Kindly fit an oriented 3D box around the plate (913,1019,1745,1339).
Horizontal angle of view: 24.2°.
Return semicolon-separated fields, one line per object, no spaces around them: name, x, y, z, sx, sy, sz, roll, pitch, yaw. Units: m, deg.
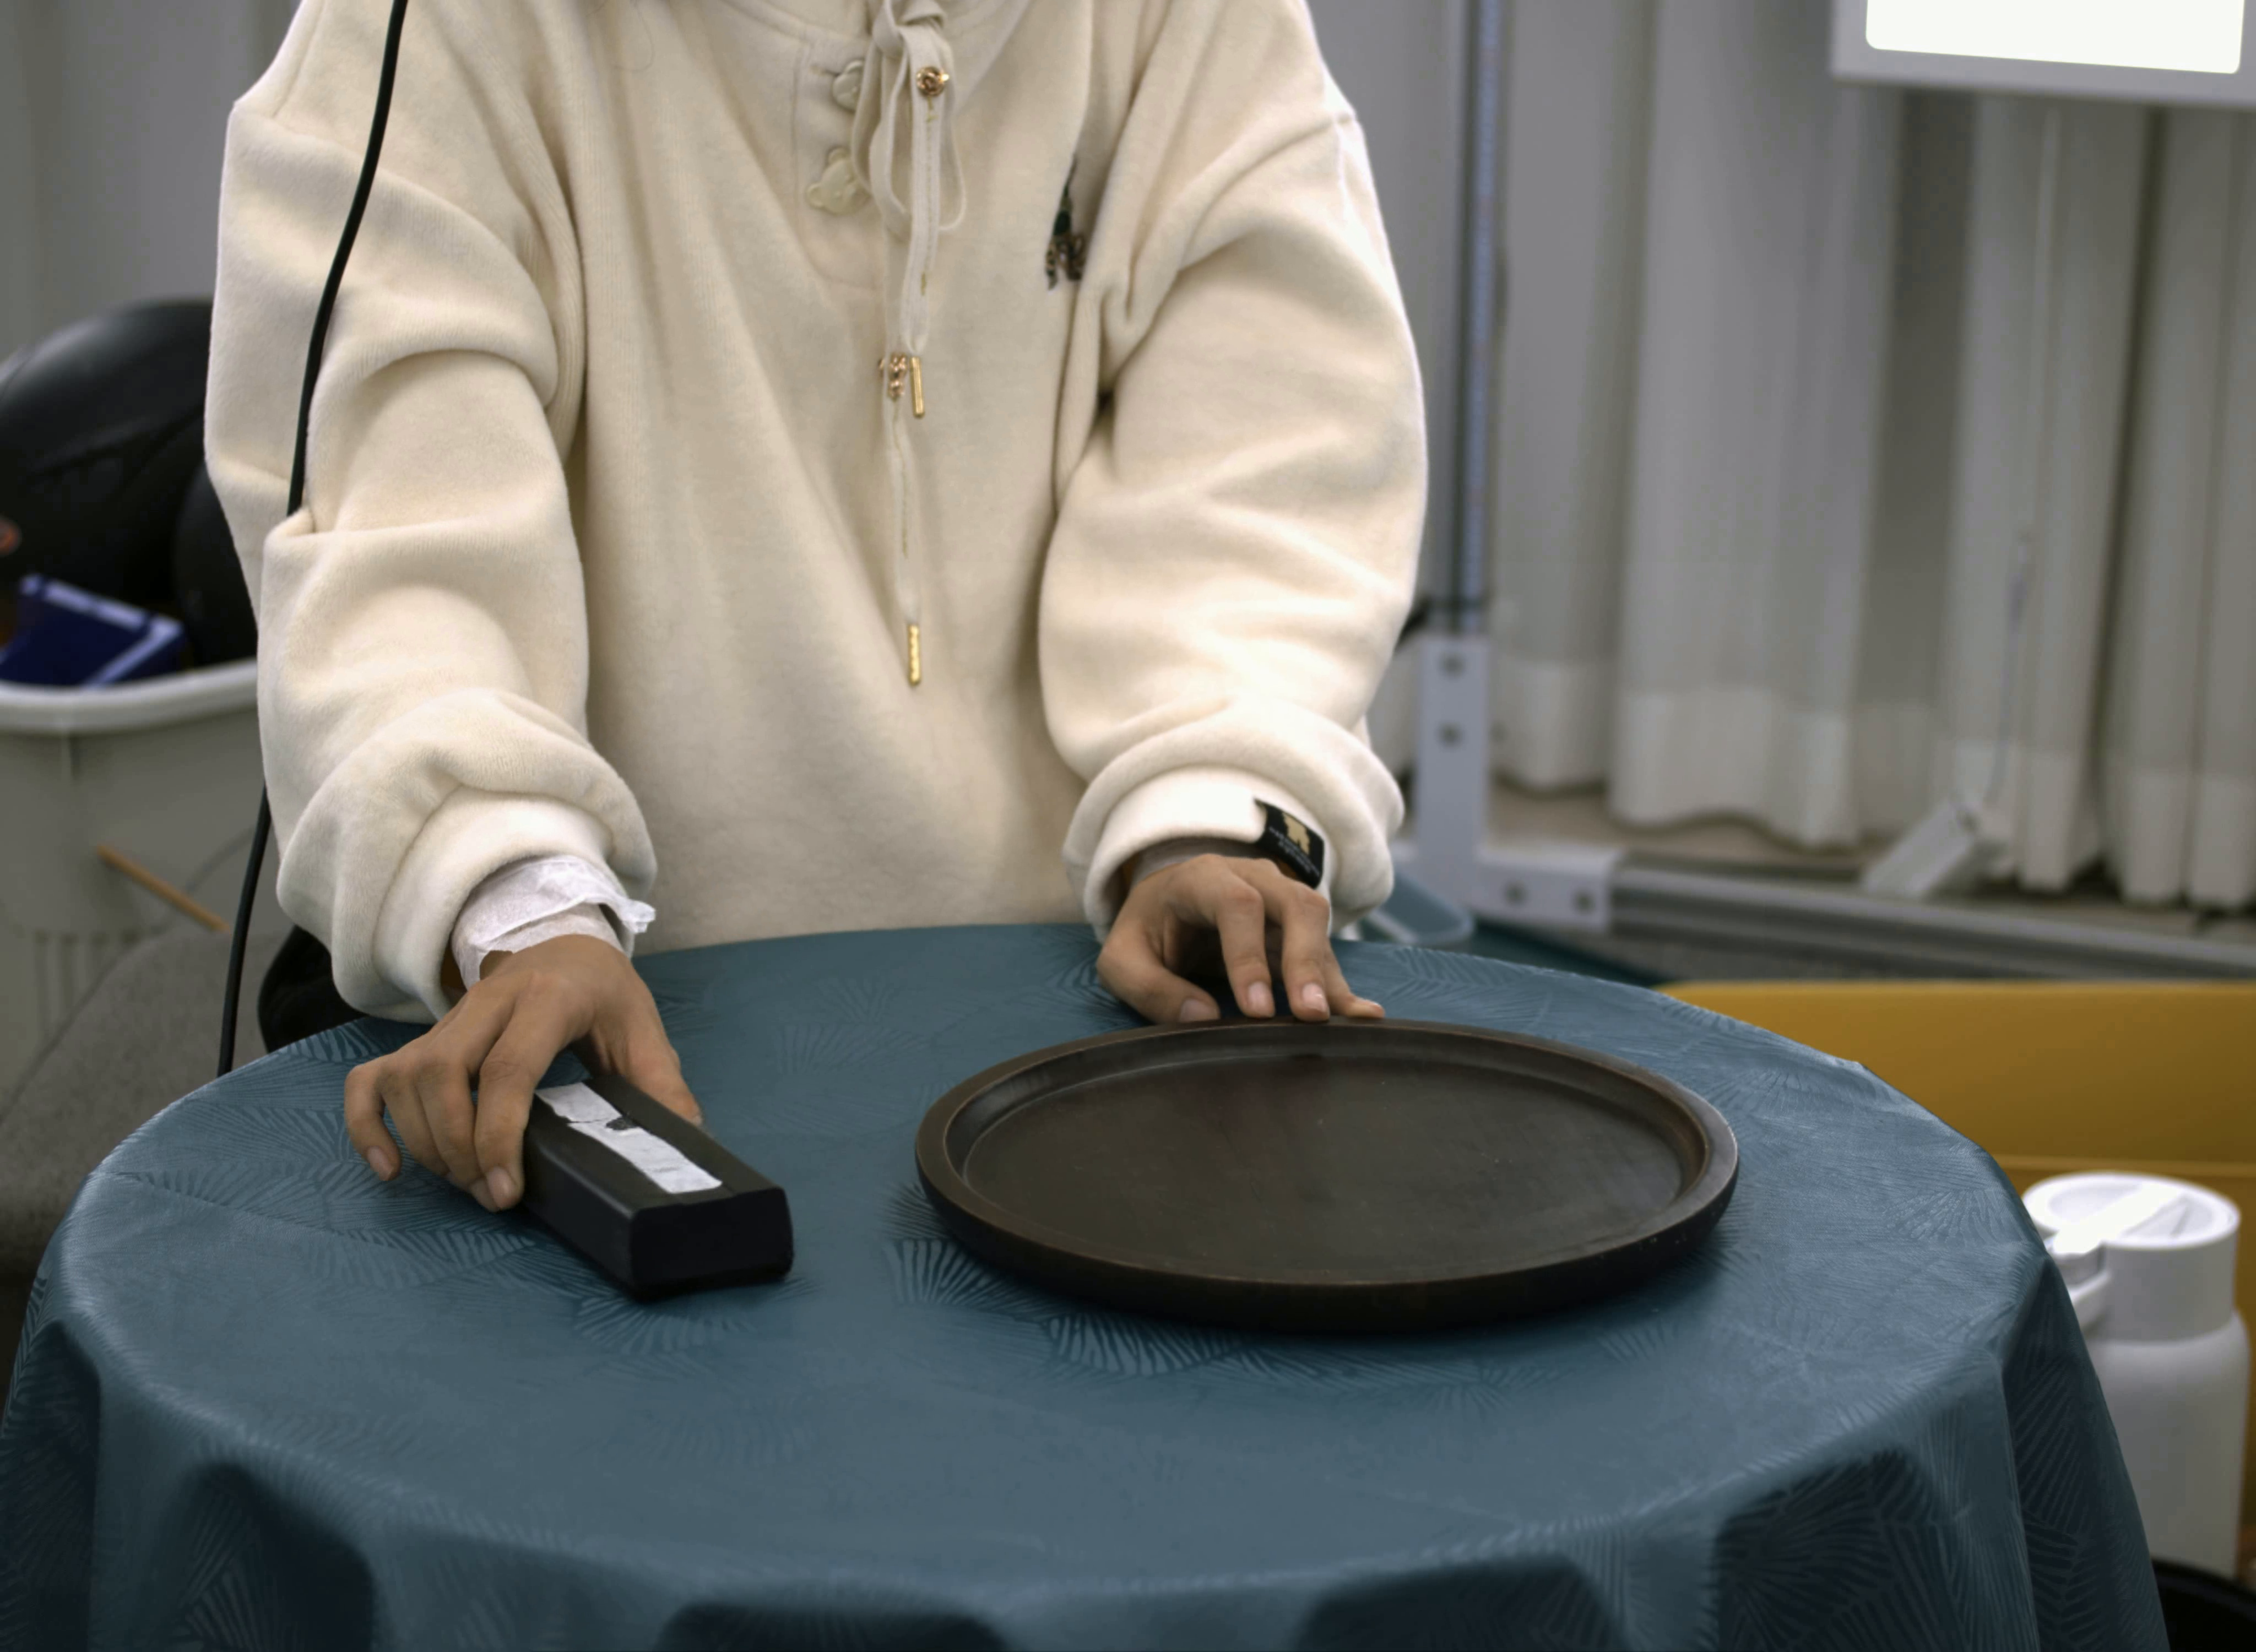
plate;0.061;0.104;1.607;0.254;0.029;0.253;1;17;0

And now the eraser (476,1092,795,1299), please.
eraser;-0.148;0.109;1.578;0.054;0.030;0.124;-5;15;-28
